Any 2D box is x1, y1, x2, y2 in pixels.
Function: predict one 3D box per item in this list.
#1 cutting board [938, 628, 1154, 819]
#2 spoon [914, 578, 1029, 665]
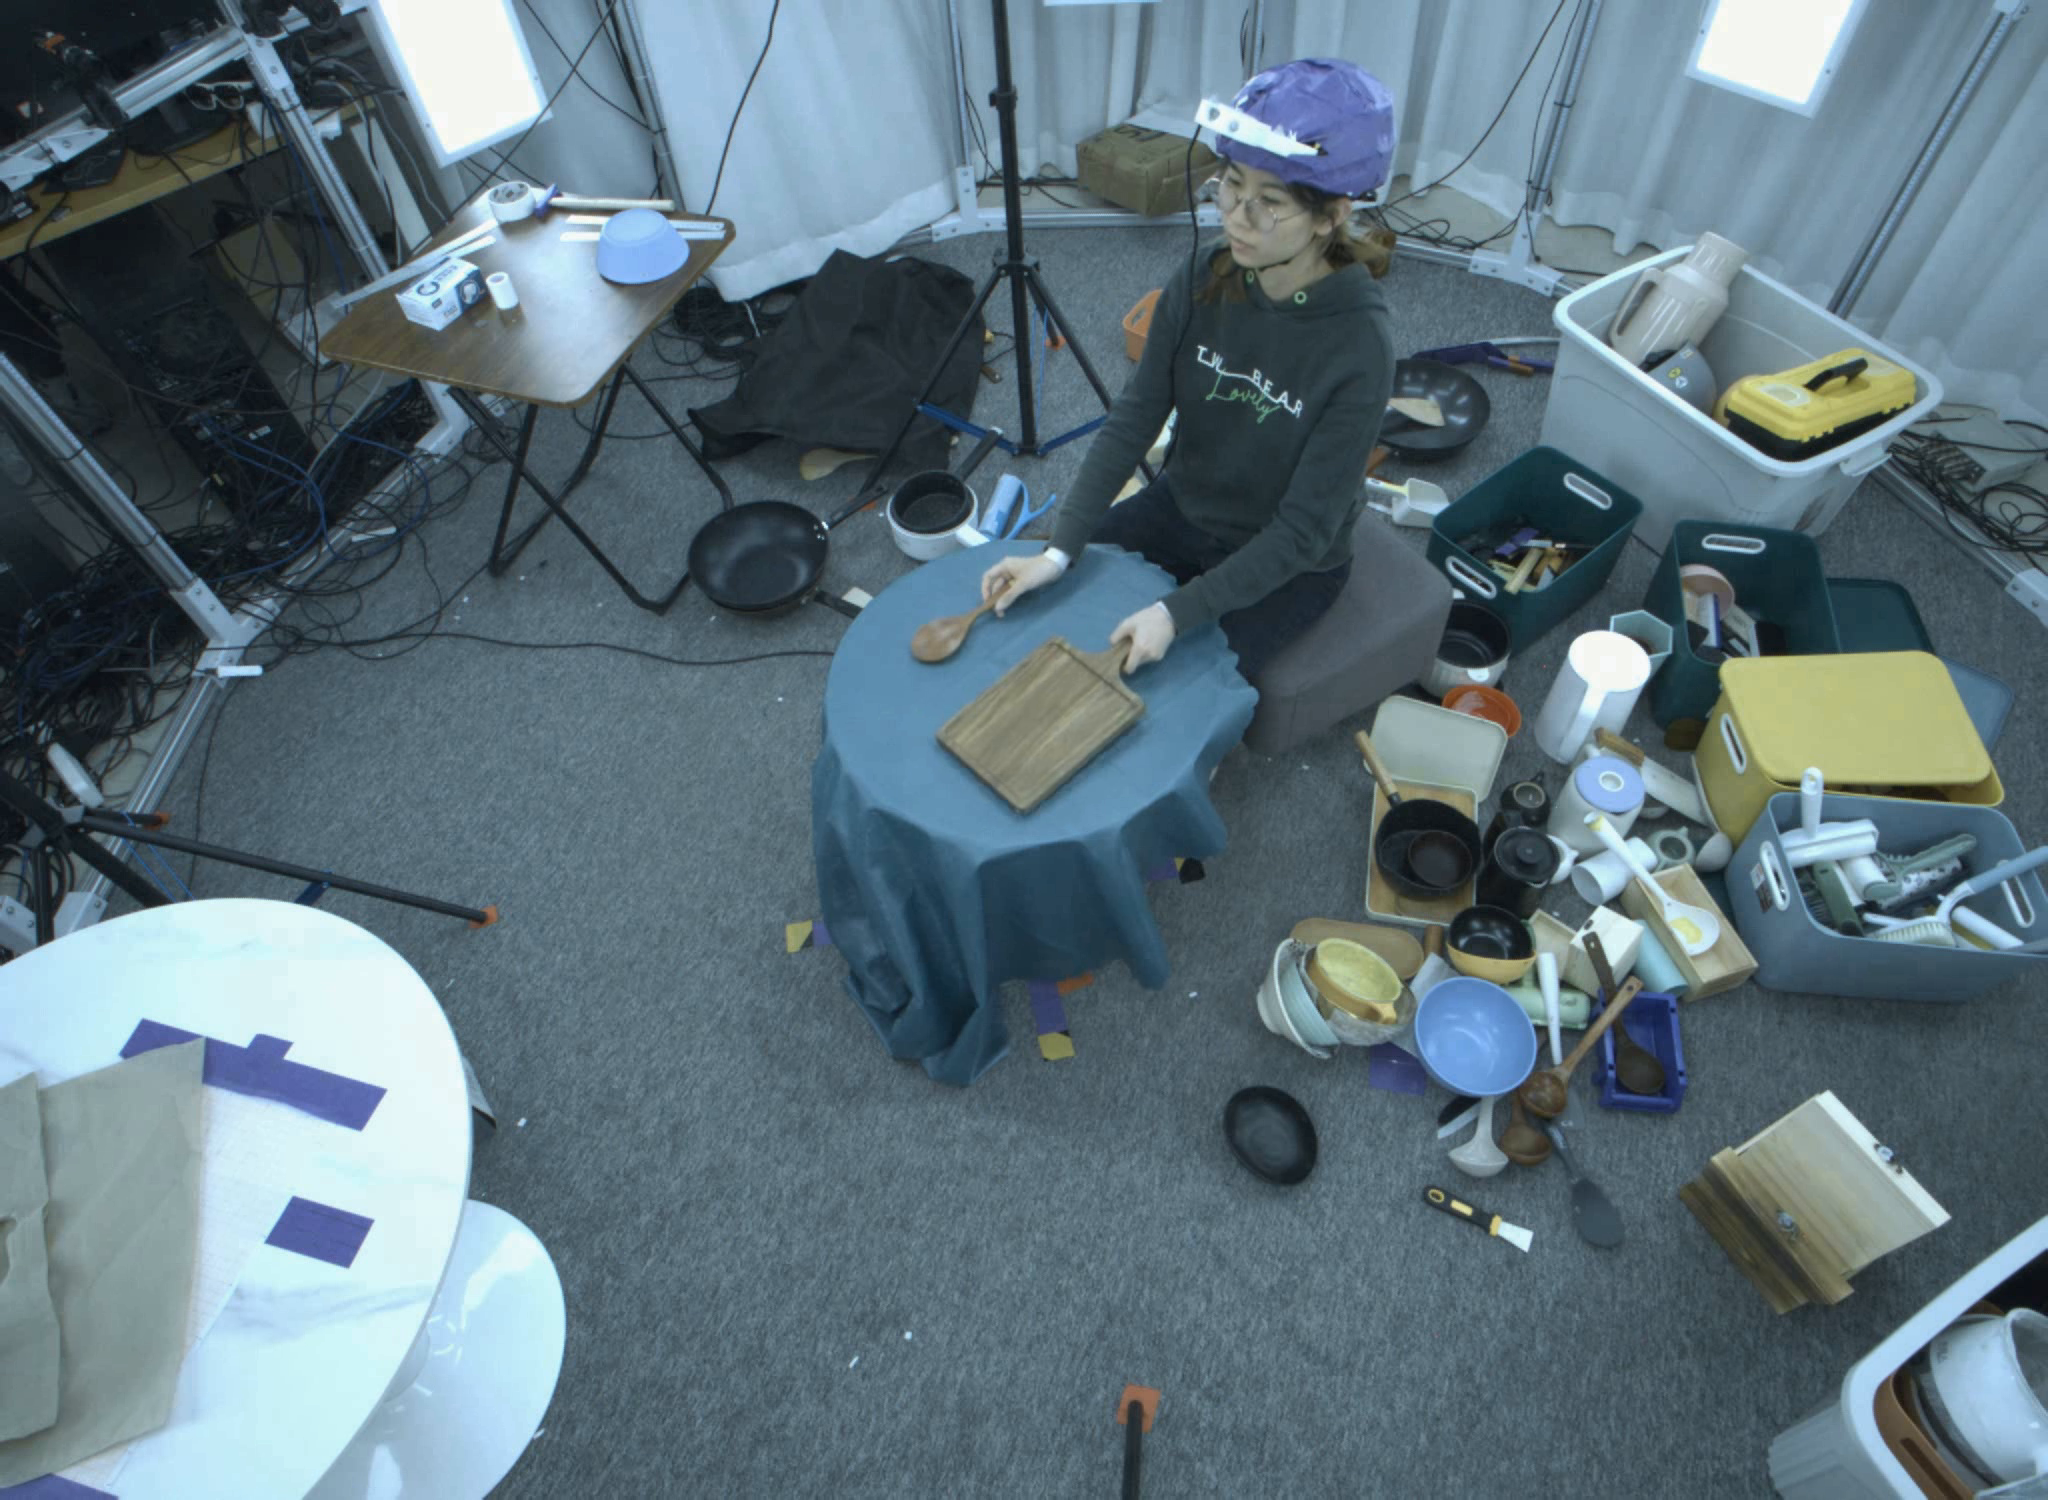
[{"bbox_3d":[0.064,-0.066,1.812,0.354,0.023,0.197,-40,61,-18],"label":"cutting board"},{"bbox_3d":[-0.080,-0.202,1.919,0.217,0.017,0.074,-38,60,-13],"label":"spoon"}]
